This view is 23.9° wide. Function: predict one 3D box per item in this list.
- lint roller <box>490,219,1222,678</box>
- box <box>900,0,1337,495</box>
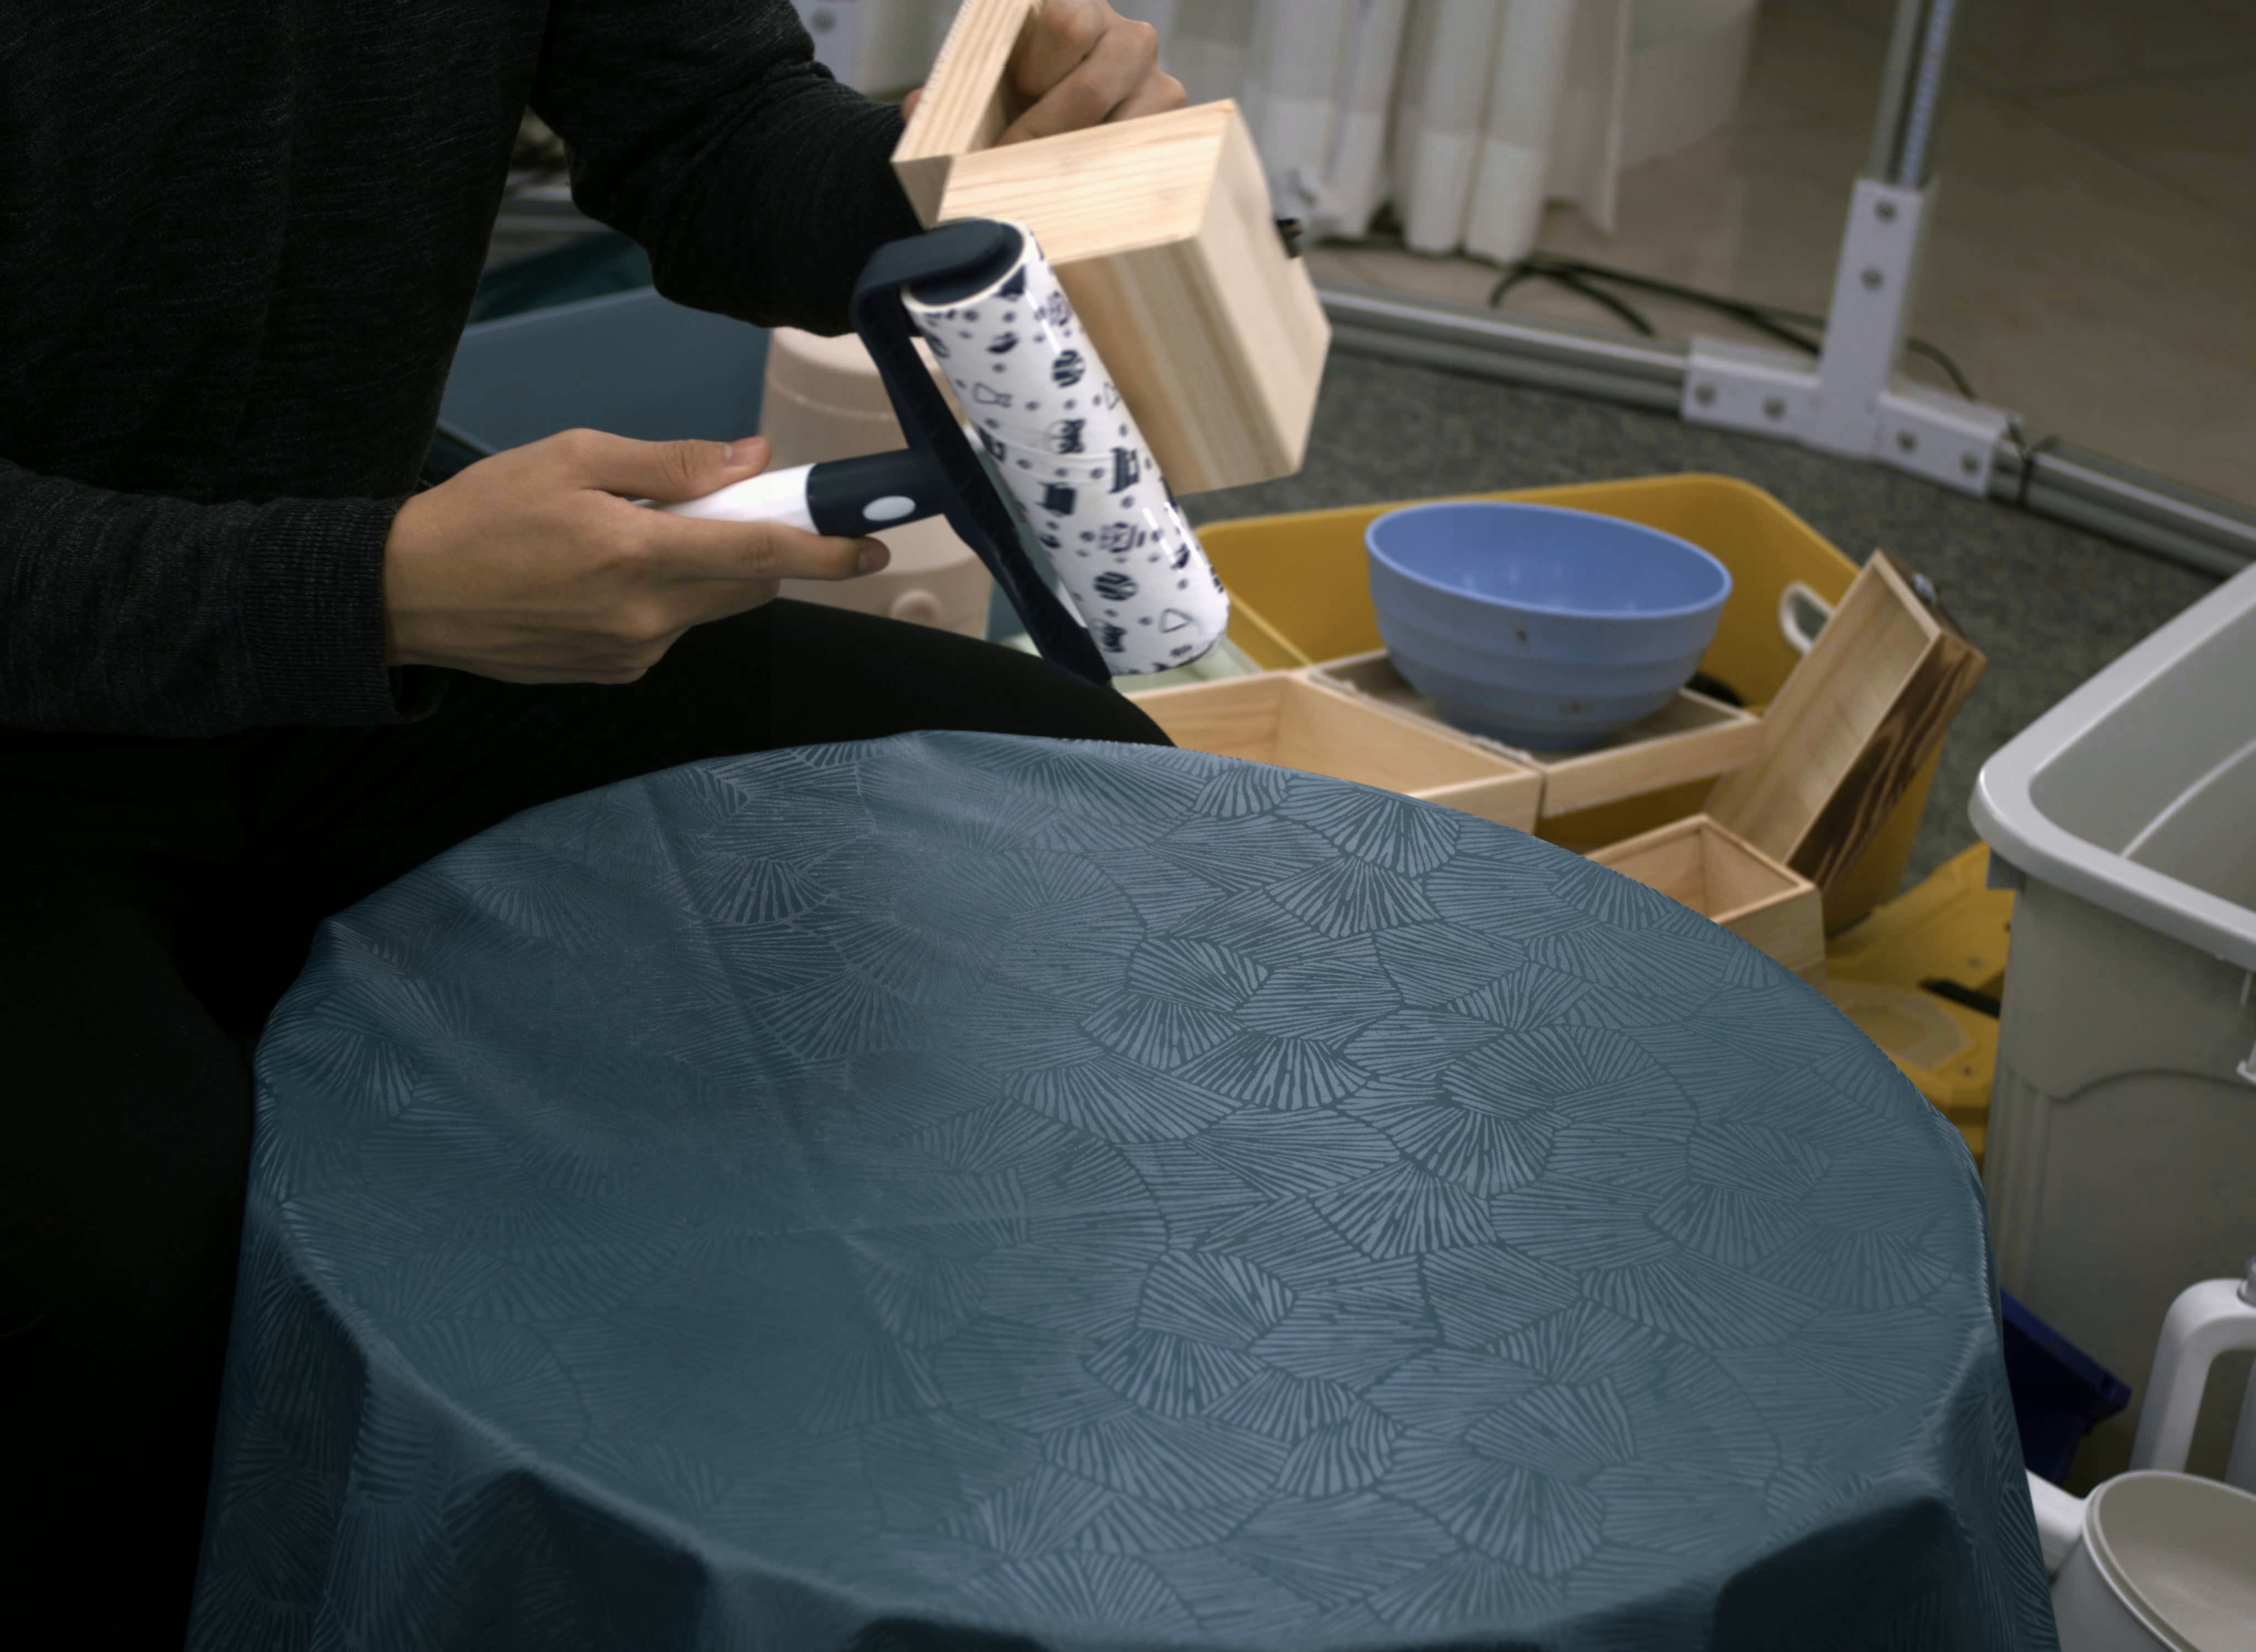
[{"bbox_3d":[-0.109,-0.103,1.783,0.247,0.175,0.050,-13,38,25],"label":"lint roller"},{"bbox_3d":[0.001,-0.206,1.816,0.134,0.102,0.185,-10,39,20],"label":"box"}]
